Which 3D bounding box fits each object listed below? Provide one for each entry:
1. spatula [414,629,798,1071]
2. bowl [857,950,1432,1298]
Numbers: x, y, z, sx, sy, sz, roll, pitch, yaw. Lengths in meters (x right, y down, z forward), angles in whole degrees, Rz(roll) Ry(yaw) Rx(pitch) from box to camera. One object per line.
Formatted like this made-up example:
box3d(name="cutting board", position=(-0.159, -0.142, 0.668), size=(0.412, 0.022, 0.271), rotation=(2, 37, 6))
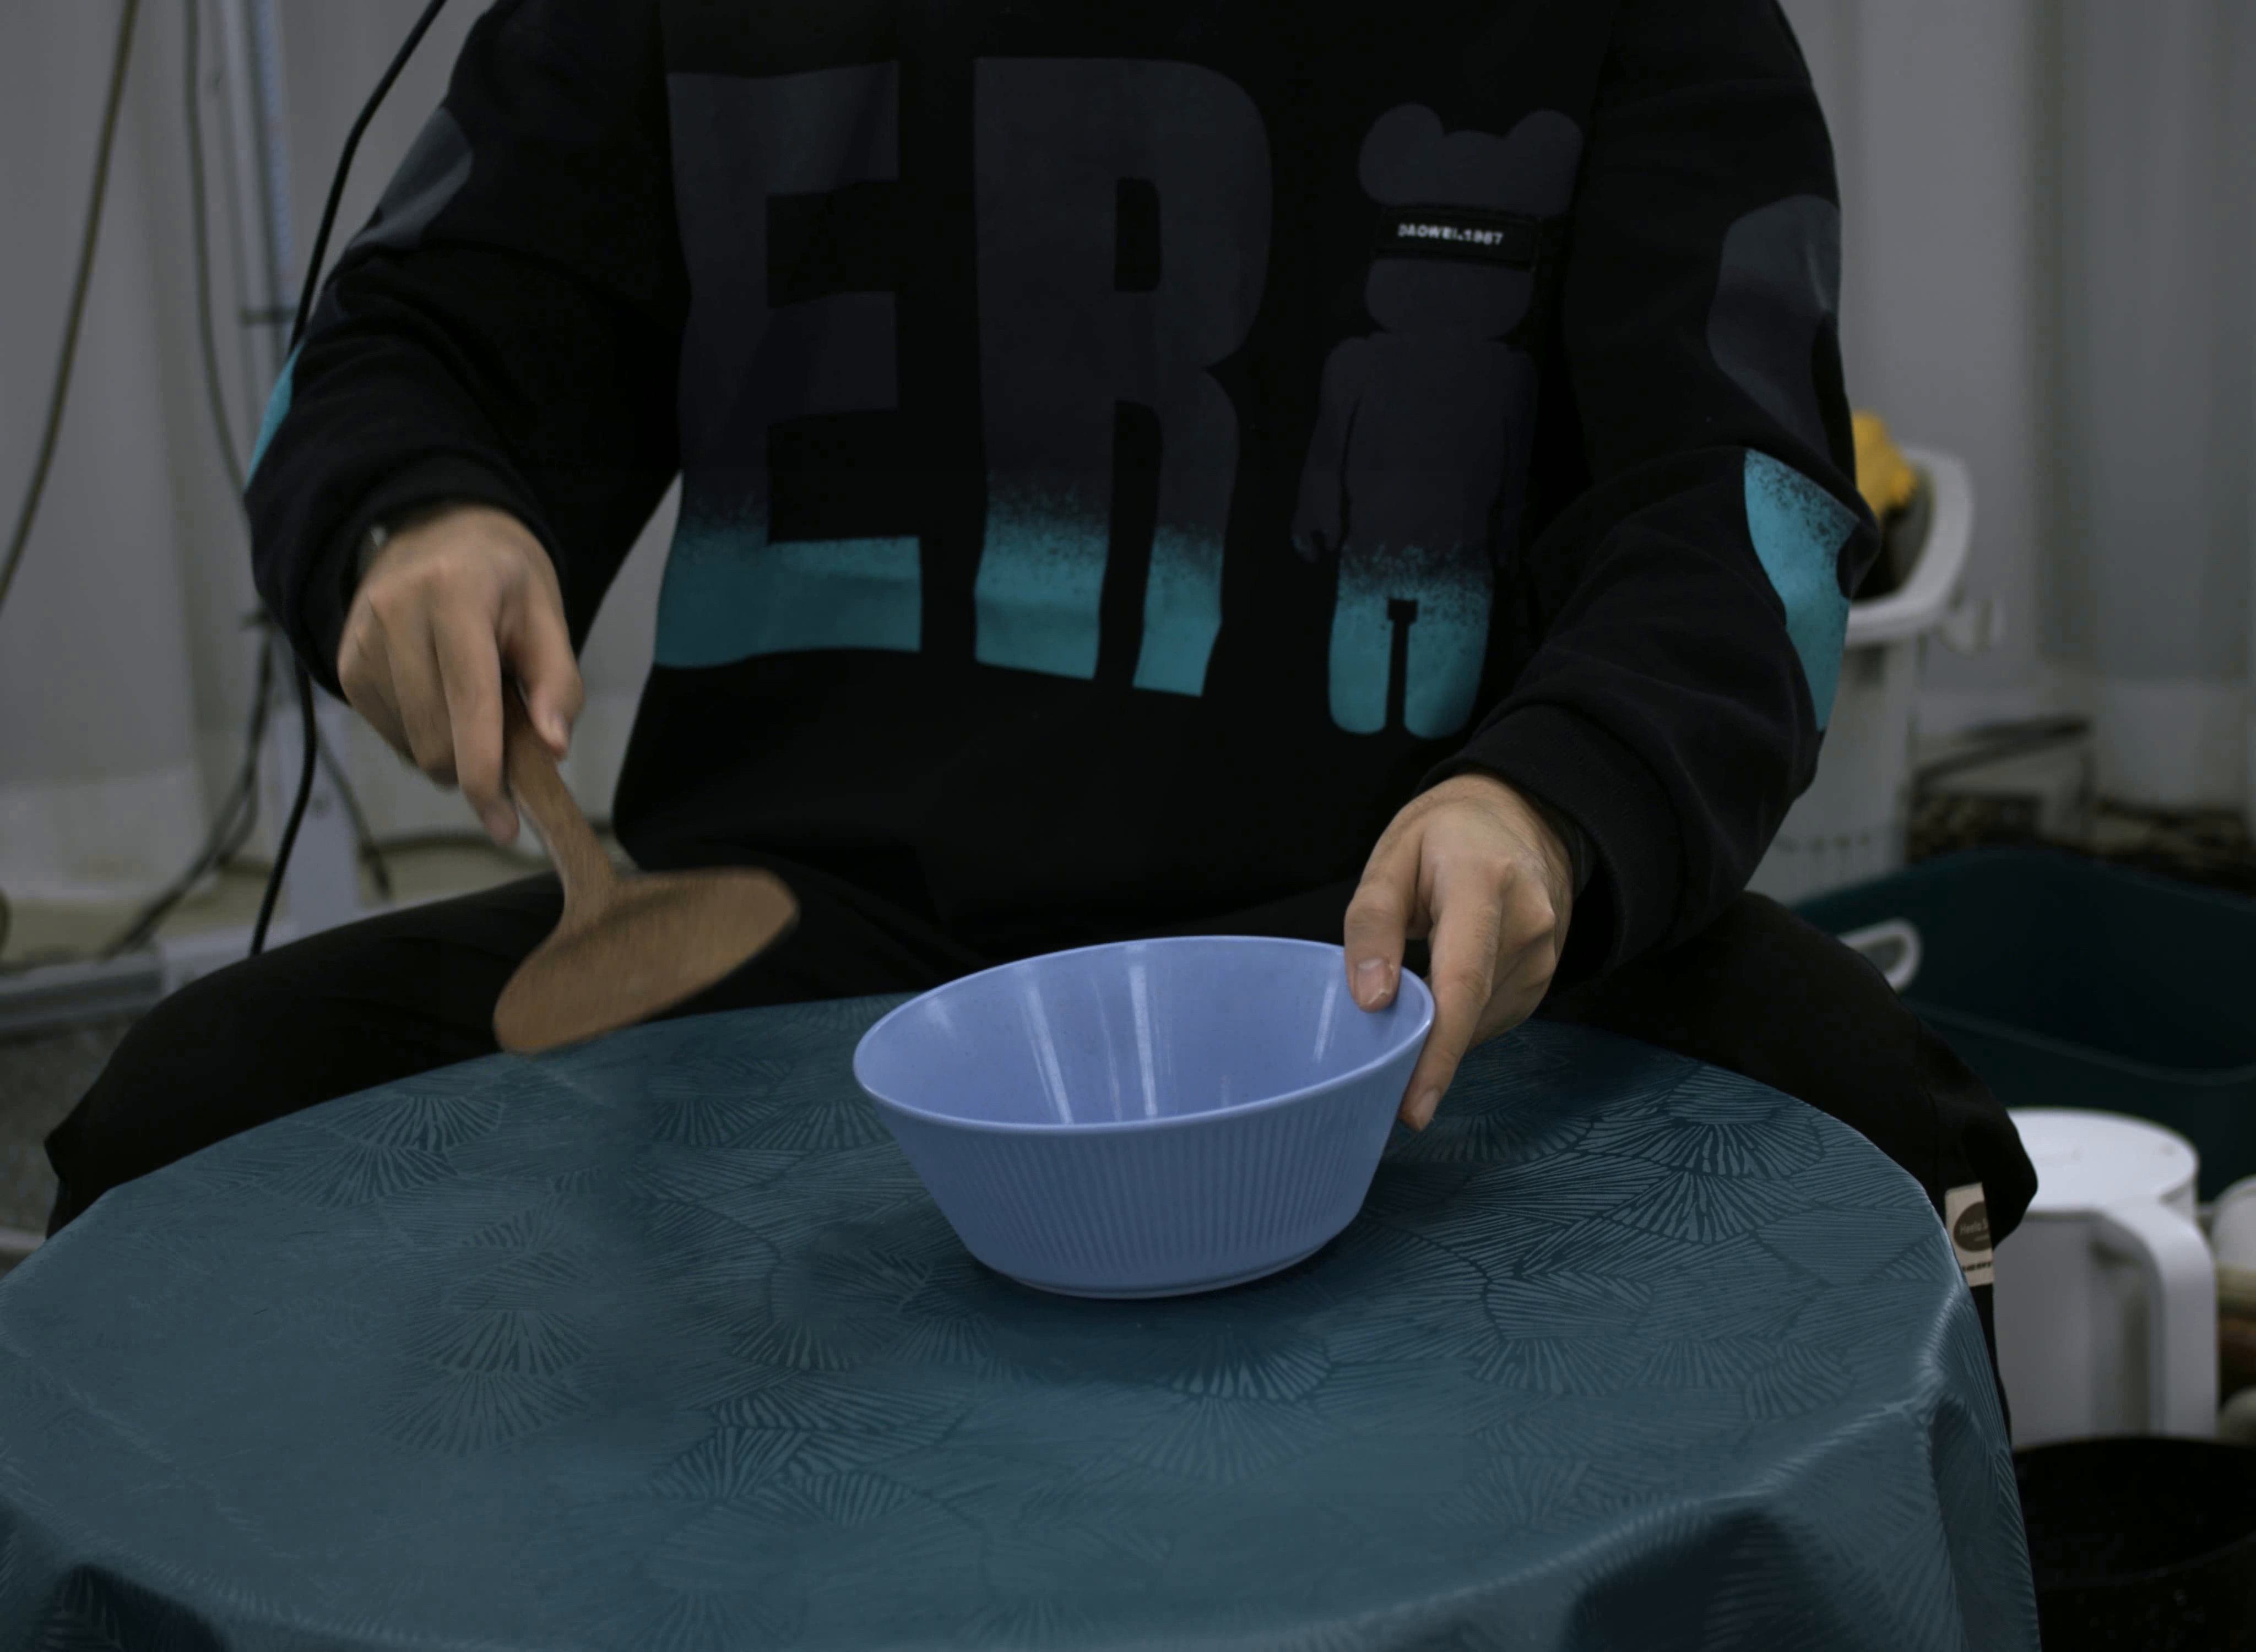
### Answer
box3d(name="spatula", position=(-0.183, -0.003, 1.719), size=(0.096, 0.015, 0.390), rotation=(-26, 24, -7))
box3d(name="bowl", position=(0.008, 0.093, 1.653), size=(0.175, 0.070, 0.177), rotation=(-5, 14, 1))
